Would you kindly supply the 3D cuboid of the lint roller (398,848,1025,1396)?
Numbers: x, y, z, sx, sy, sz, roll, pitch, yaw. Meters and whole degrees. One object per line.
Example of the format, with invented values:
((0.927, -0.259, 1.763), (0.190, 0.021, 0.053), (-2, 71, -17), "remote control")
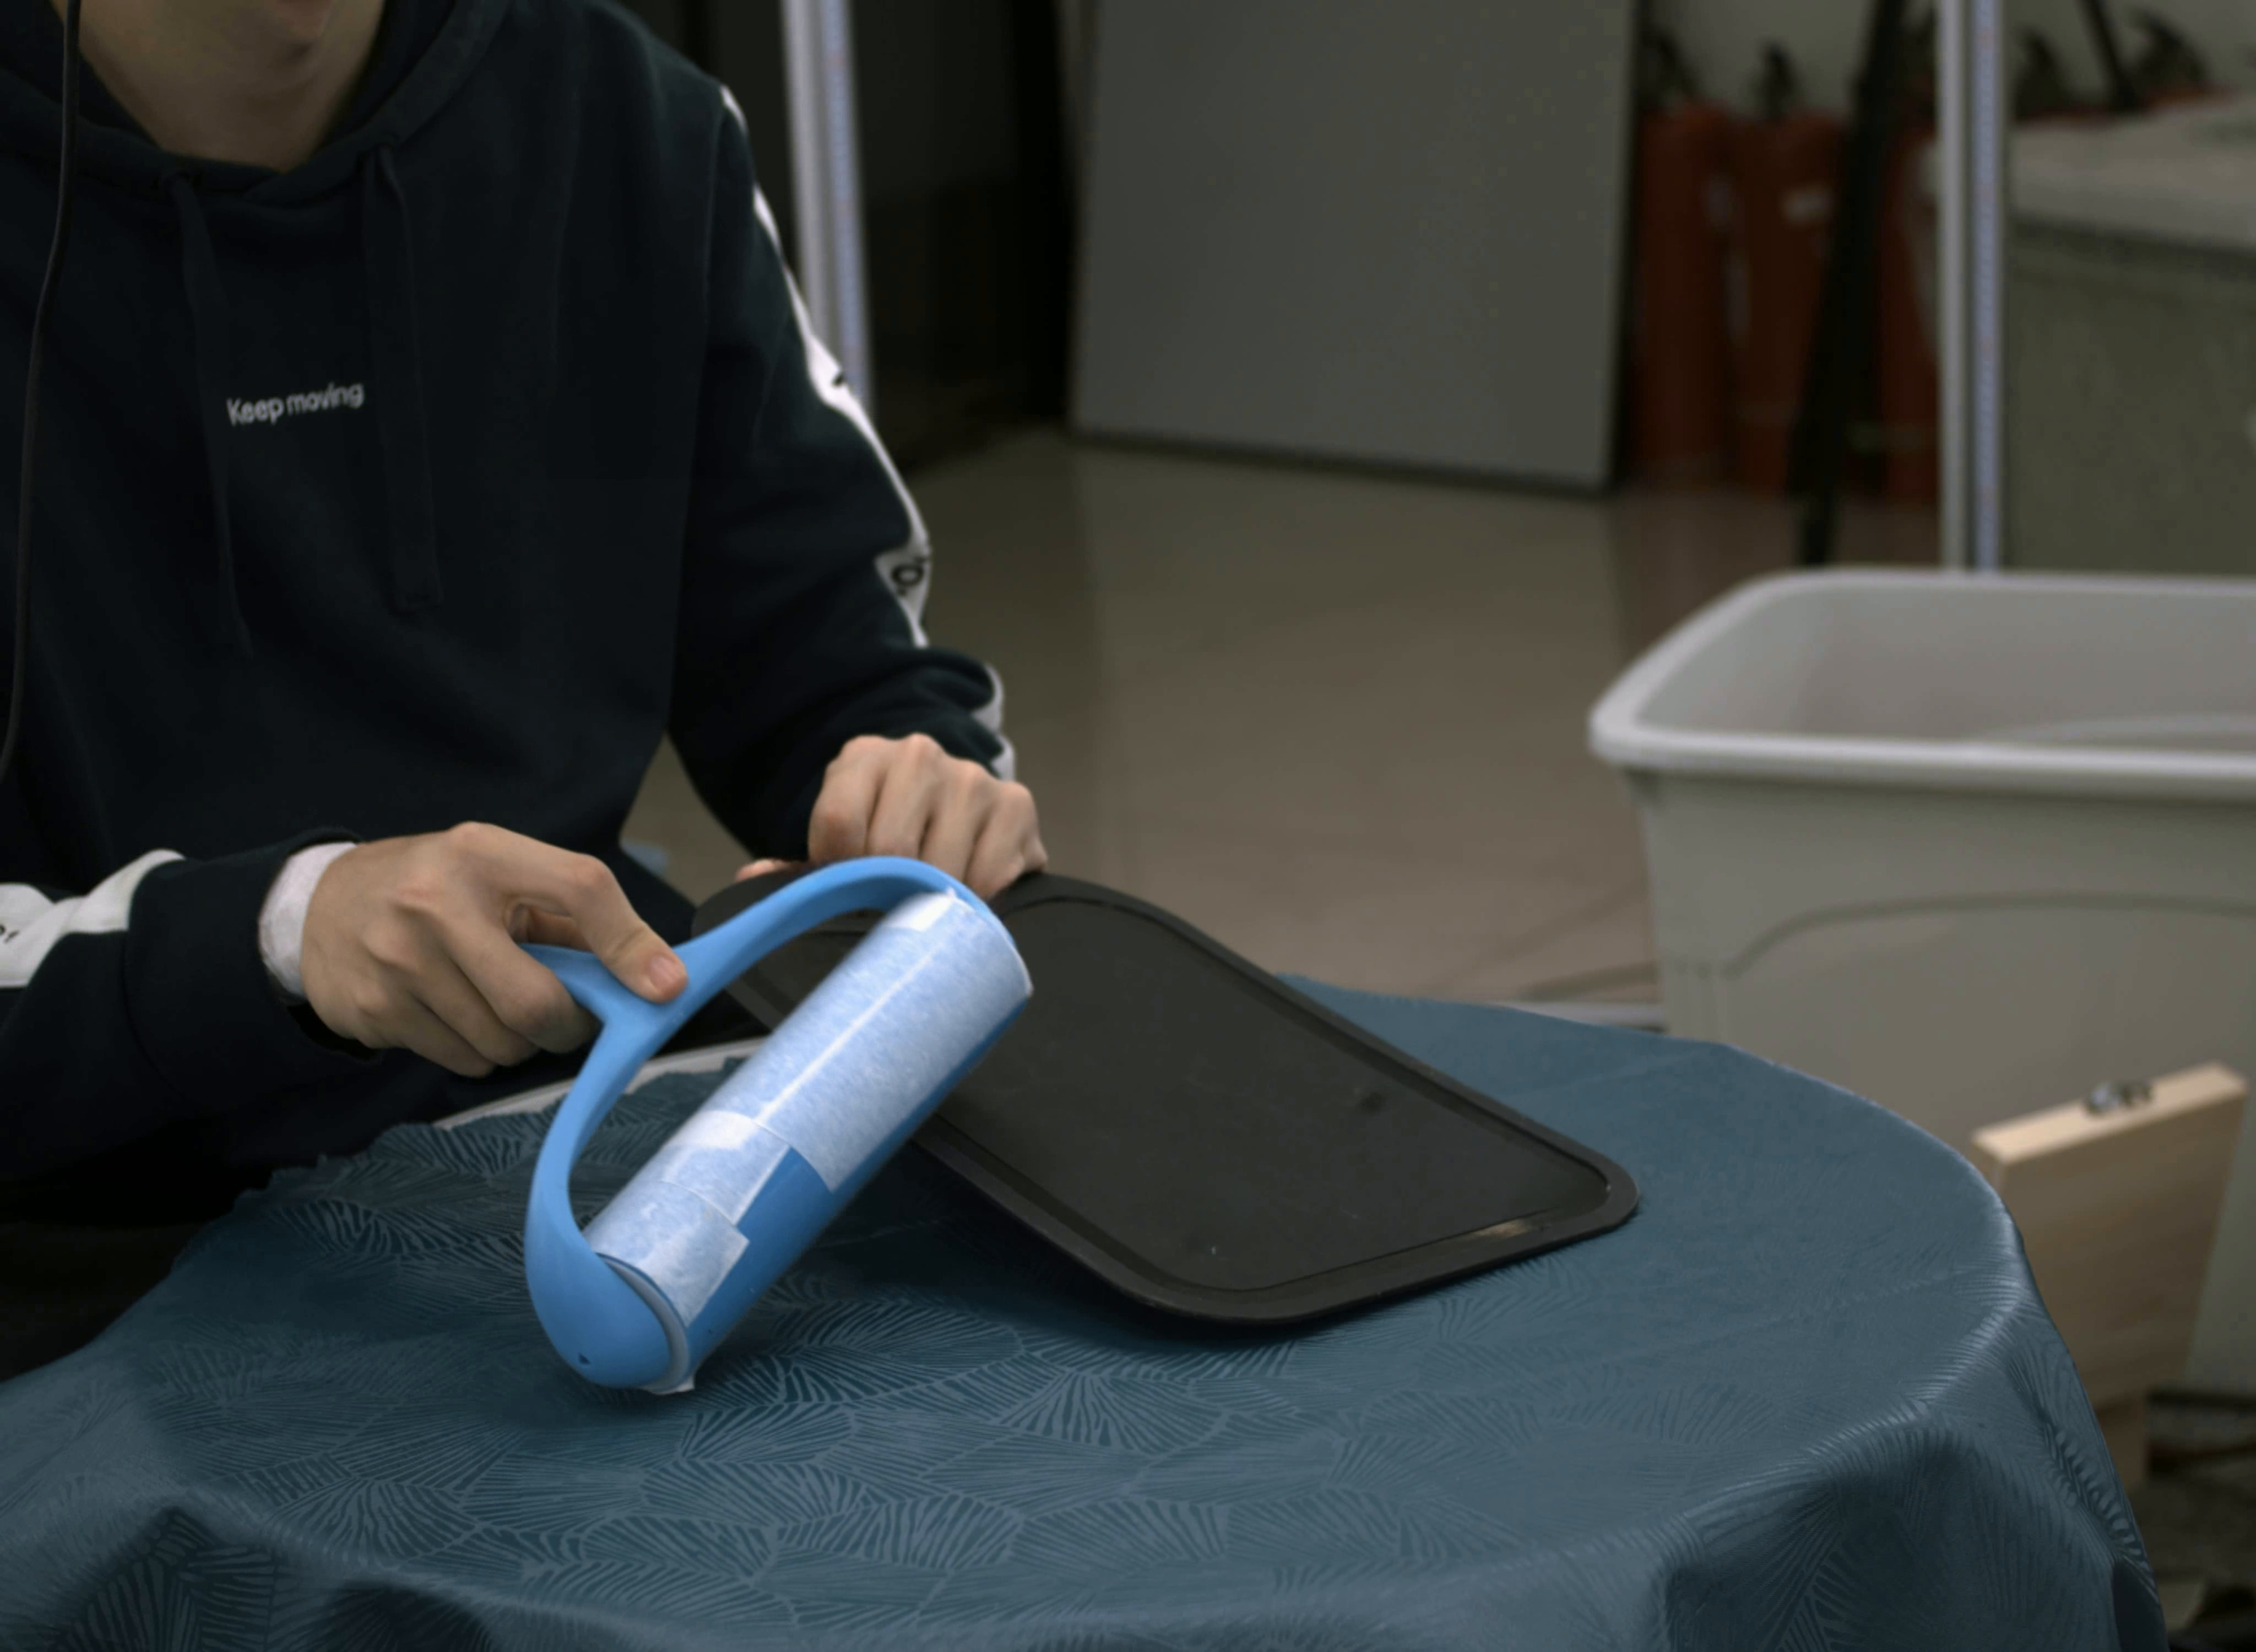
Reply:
((-0.154, 0.073, 1.688), (0.180, 0.068, 0.227), (21, 47, 19), "lint roller")

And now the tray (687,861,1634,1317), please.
((0.002, 0.077, 1.770), (0.206, 0.010, 0.329), (-9, 28, -38), "tray")
